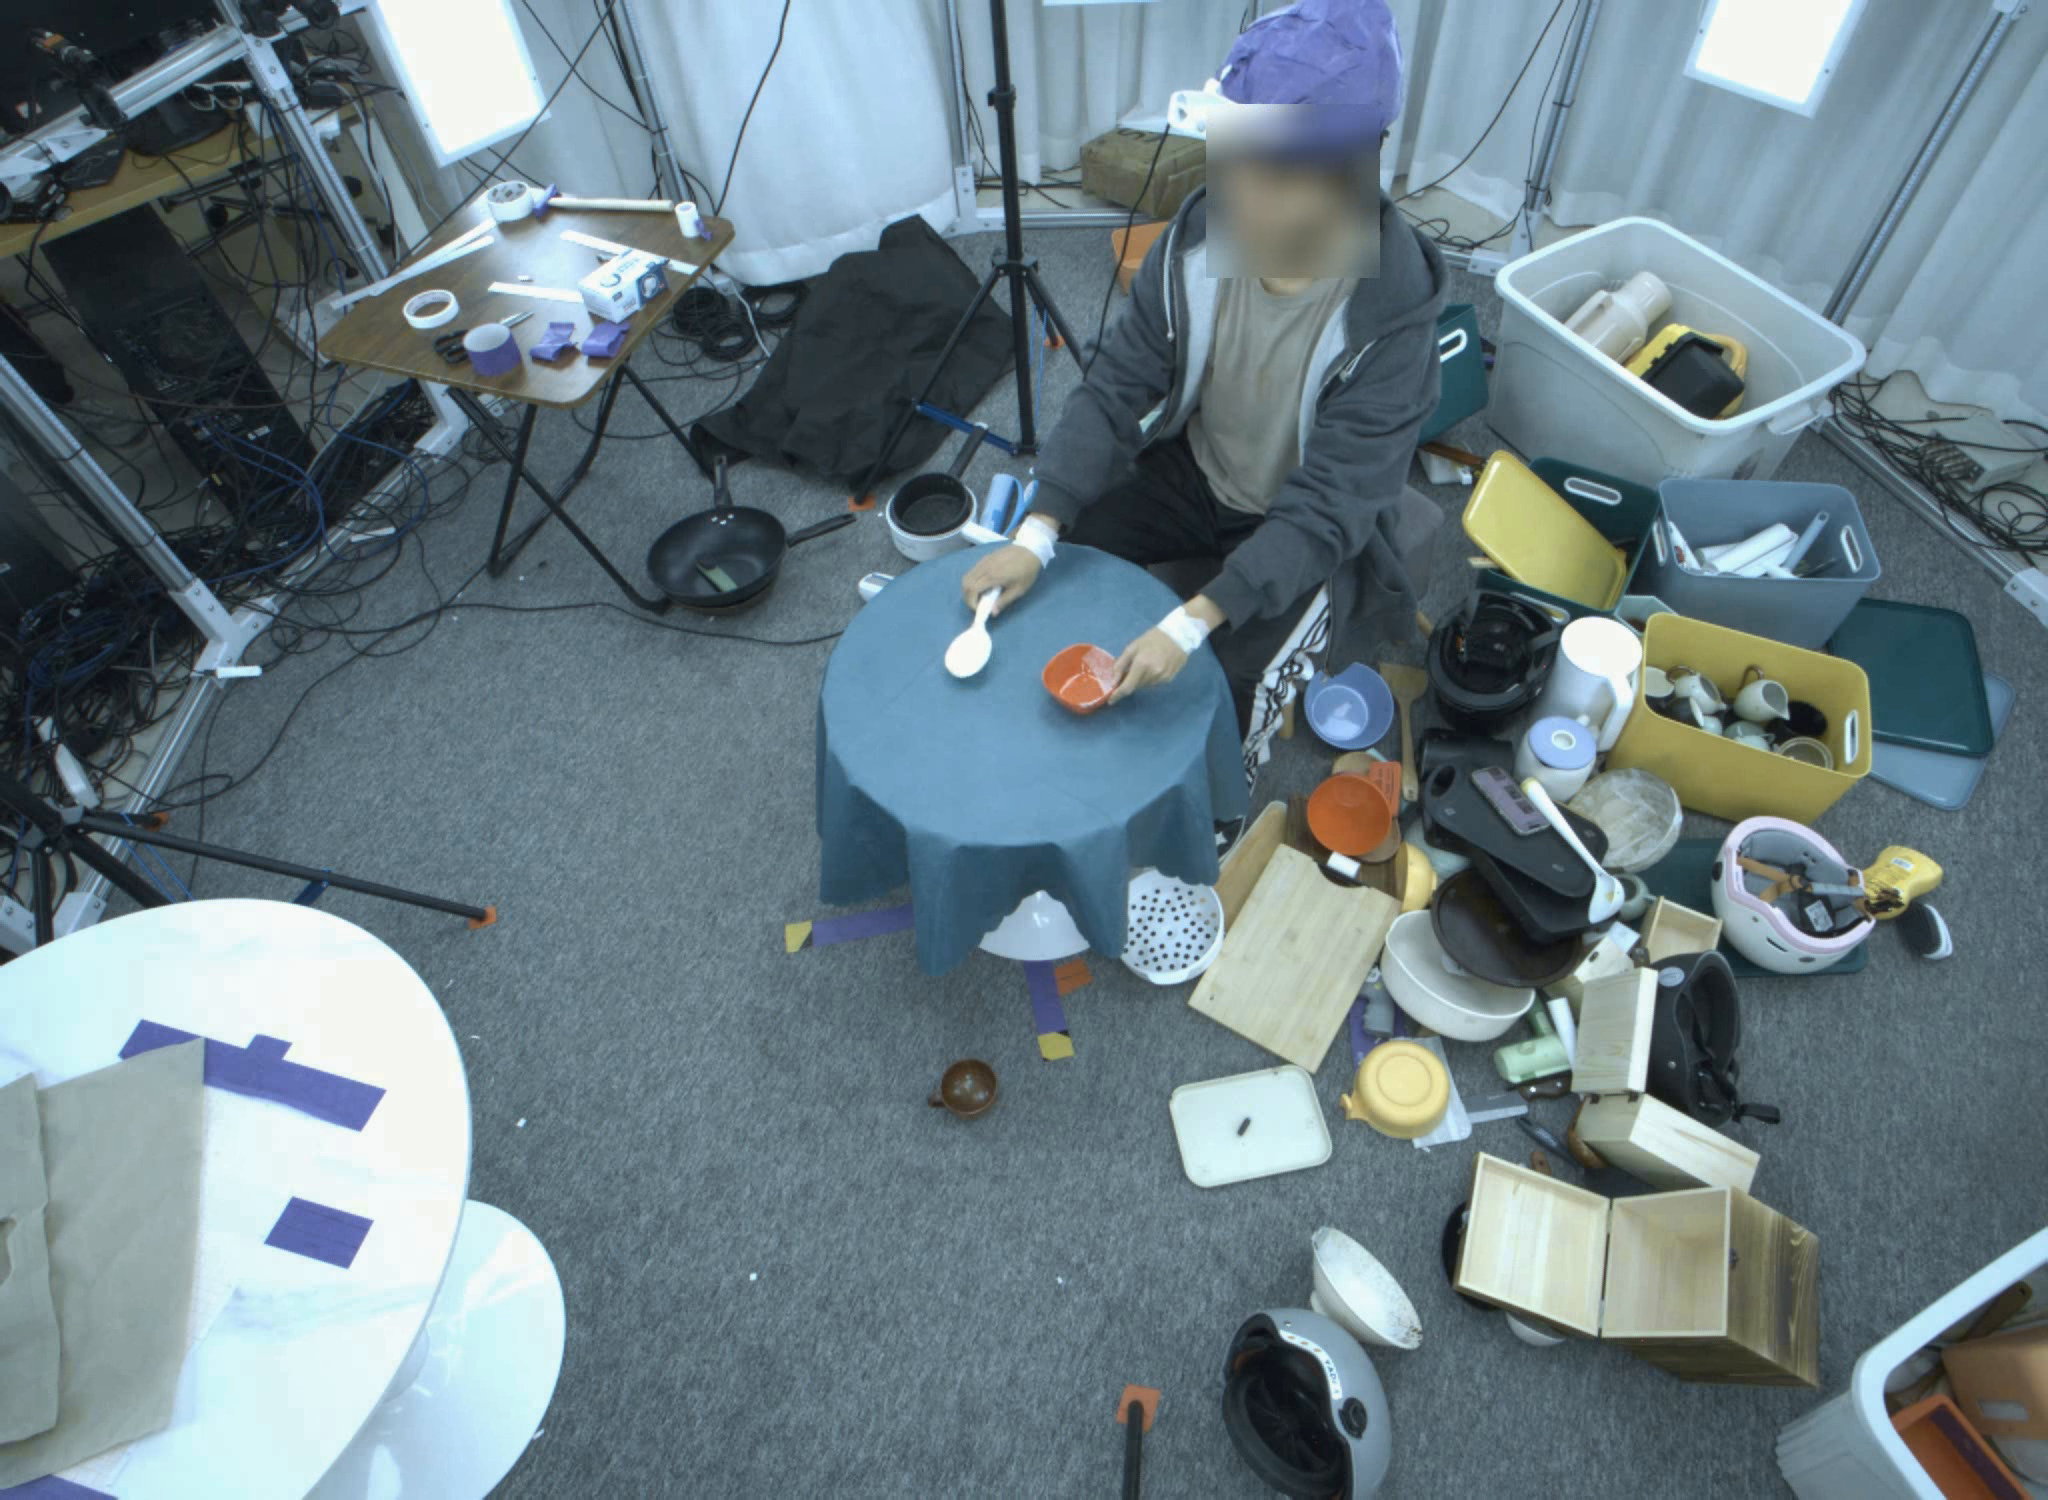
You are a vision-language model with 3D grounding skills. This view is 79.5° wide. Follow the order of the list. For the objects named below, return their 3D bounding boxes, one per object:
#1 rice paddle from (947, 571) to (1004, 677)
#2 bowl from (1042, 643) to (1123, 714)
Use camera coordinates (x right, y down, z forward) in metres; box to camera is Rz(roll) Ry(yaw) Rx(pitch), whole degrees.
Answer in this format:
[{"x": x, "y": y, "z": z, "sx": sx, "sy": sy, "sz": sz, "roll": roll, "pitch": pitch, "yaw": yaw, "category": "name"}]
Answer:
[{"x": -0.070, "y": -0.194, "z": 1.900, "sx": 0.068, "sy": 0.030, "sz": 0.204, "roll": 4, "pitch": 55, "yaw": 17, "category": "rice paddle"}, {"x": 0.088, "y": -0.098, "z": 1.824, "sx": 0.119, "sy": 0.052, "sz": 0.117, "roll": -1, "pitch": 54, "yaw": 3, "category": "bowl"}]
